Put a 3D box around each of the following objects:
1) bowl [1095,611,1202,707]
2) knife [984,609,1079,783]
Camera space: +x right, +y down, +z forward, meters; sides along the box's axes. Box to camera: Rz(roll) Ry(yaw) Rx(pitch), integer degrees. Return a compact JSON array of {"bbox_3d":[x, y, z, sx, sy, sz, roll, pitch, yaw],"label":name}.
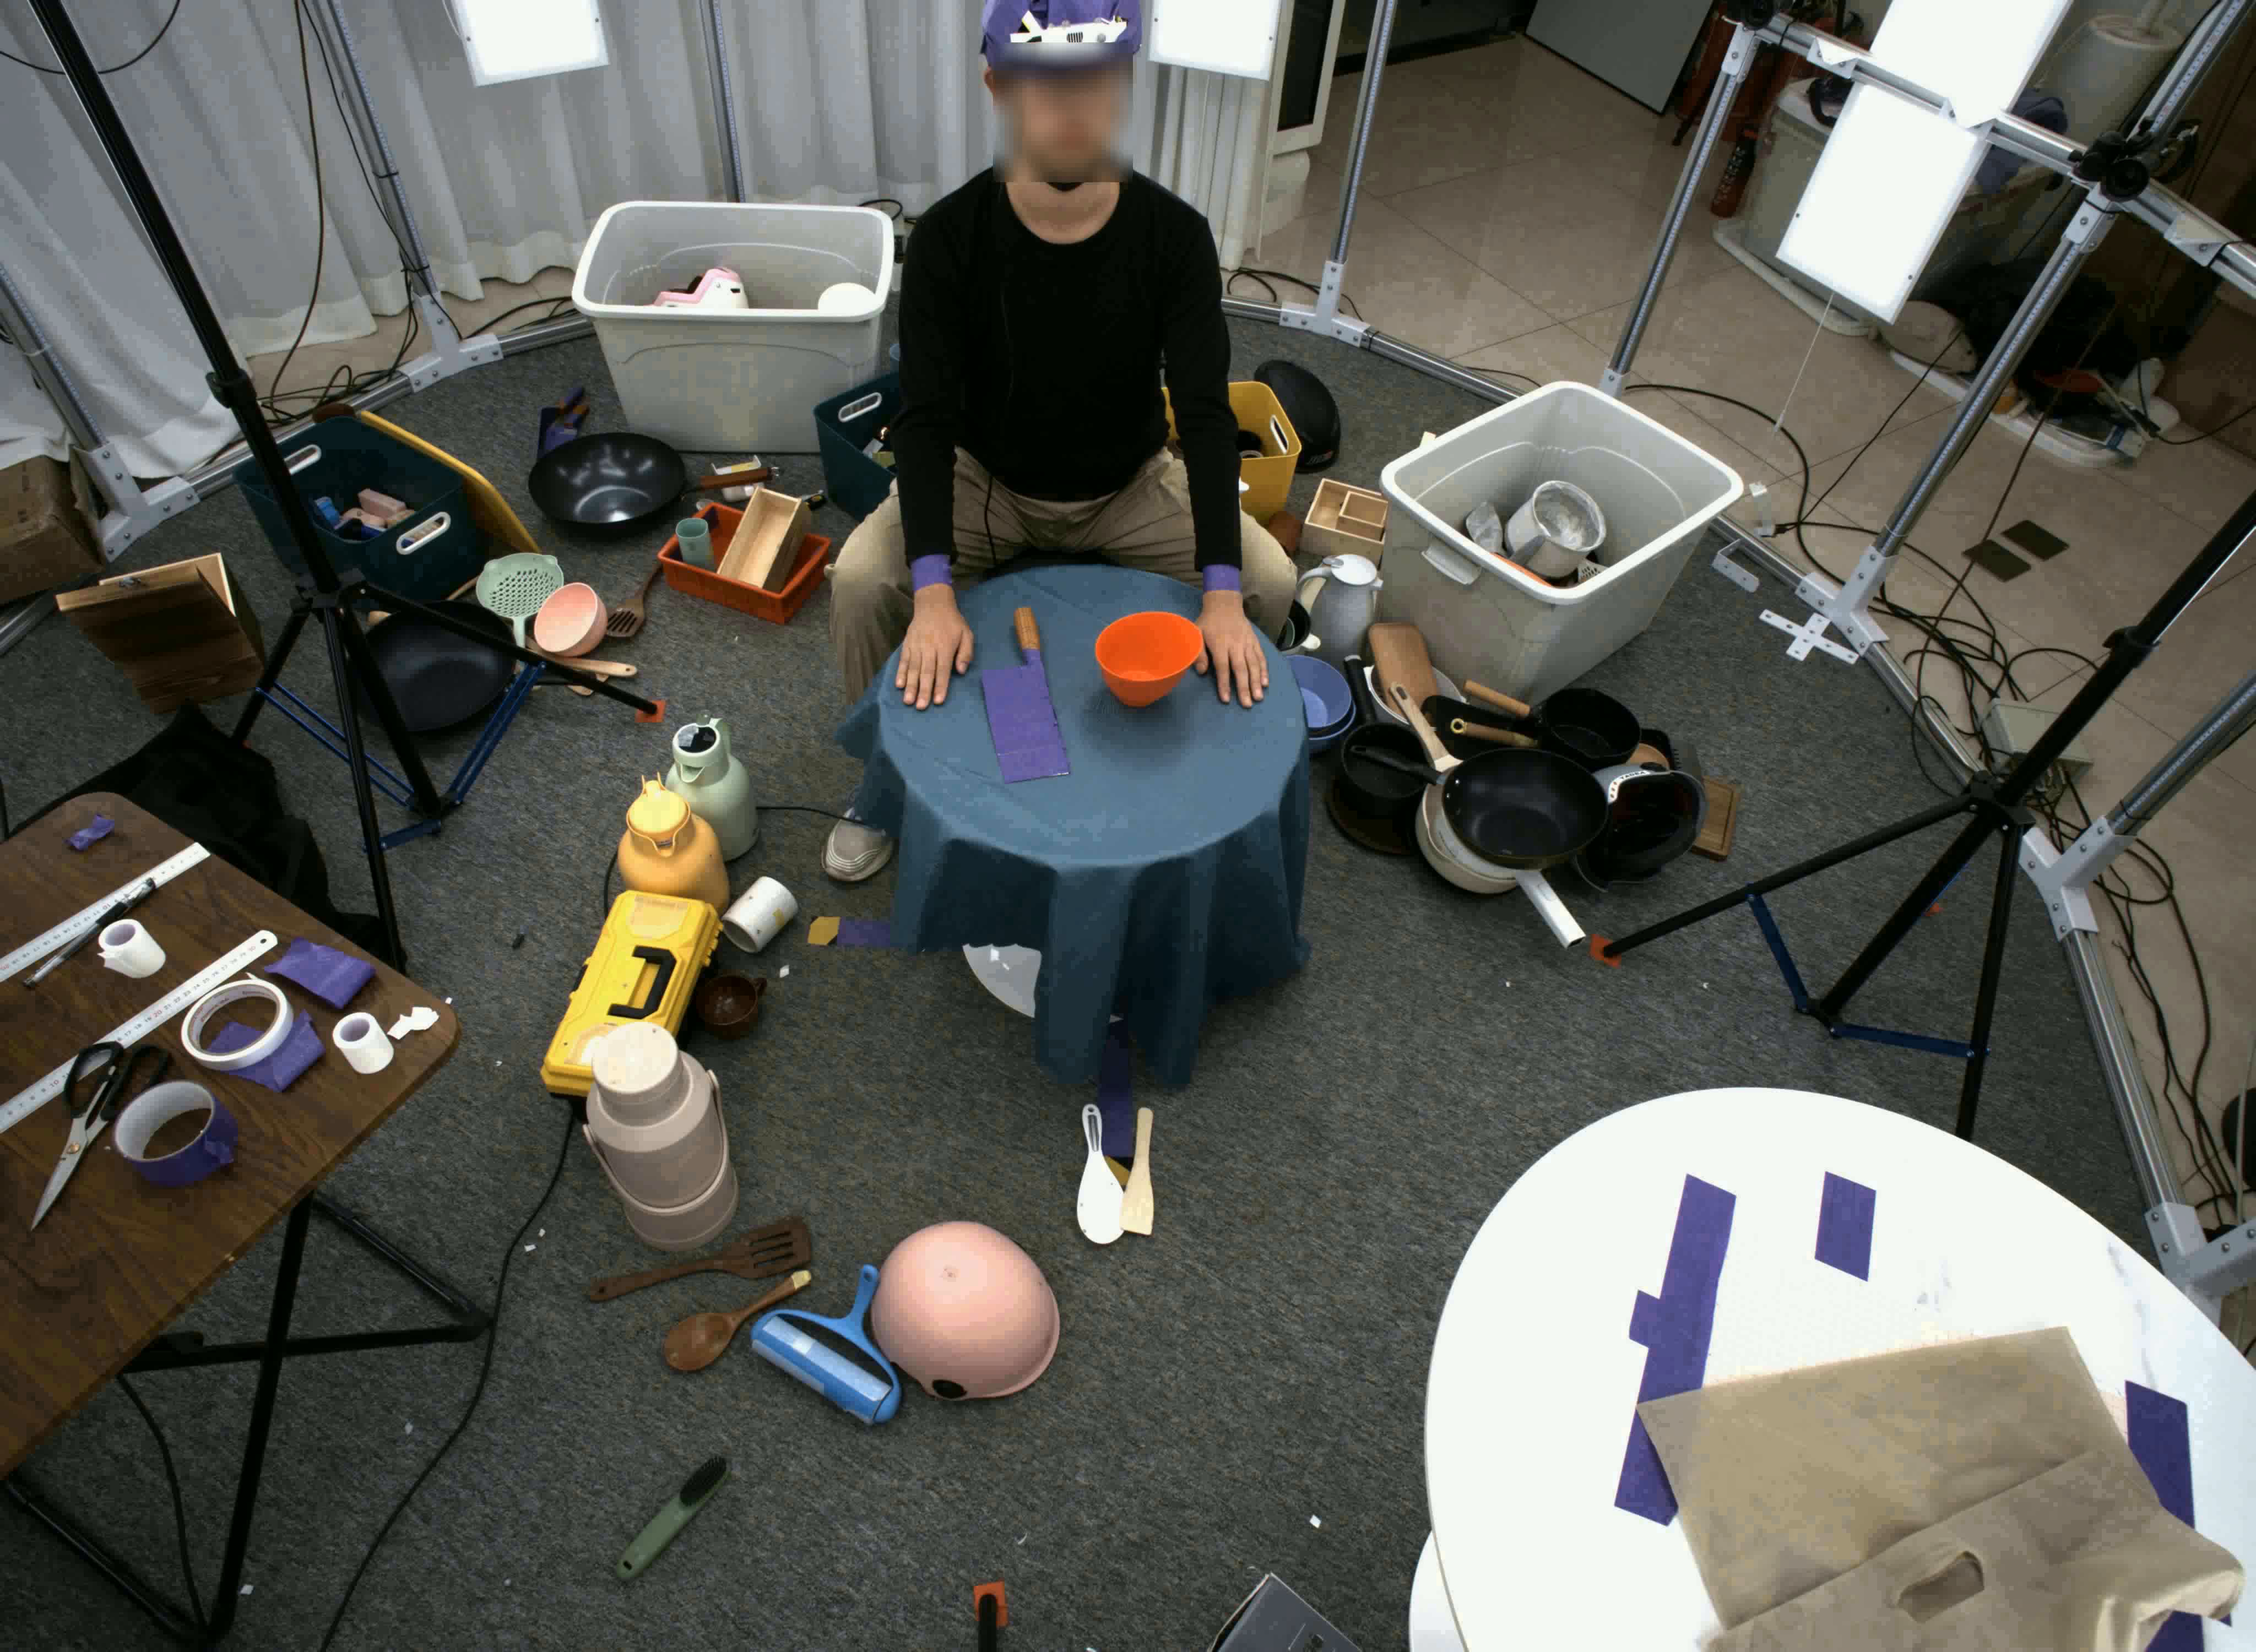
[{"bbox_3d":[0.026,-0.223,1.798,0.148,0.102,0.152,1,51,-1],"label":"bowl"},{"bbox_3d":[-0.151,-0.188,1.806,0.104,0.031,0.323,-8,51,-11],"label":"knife"}]
